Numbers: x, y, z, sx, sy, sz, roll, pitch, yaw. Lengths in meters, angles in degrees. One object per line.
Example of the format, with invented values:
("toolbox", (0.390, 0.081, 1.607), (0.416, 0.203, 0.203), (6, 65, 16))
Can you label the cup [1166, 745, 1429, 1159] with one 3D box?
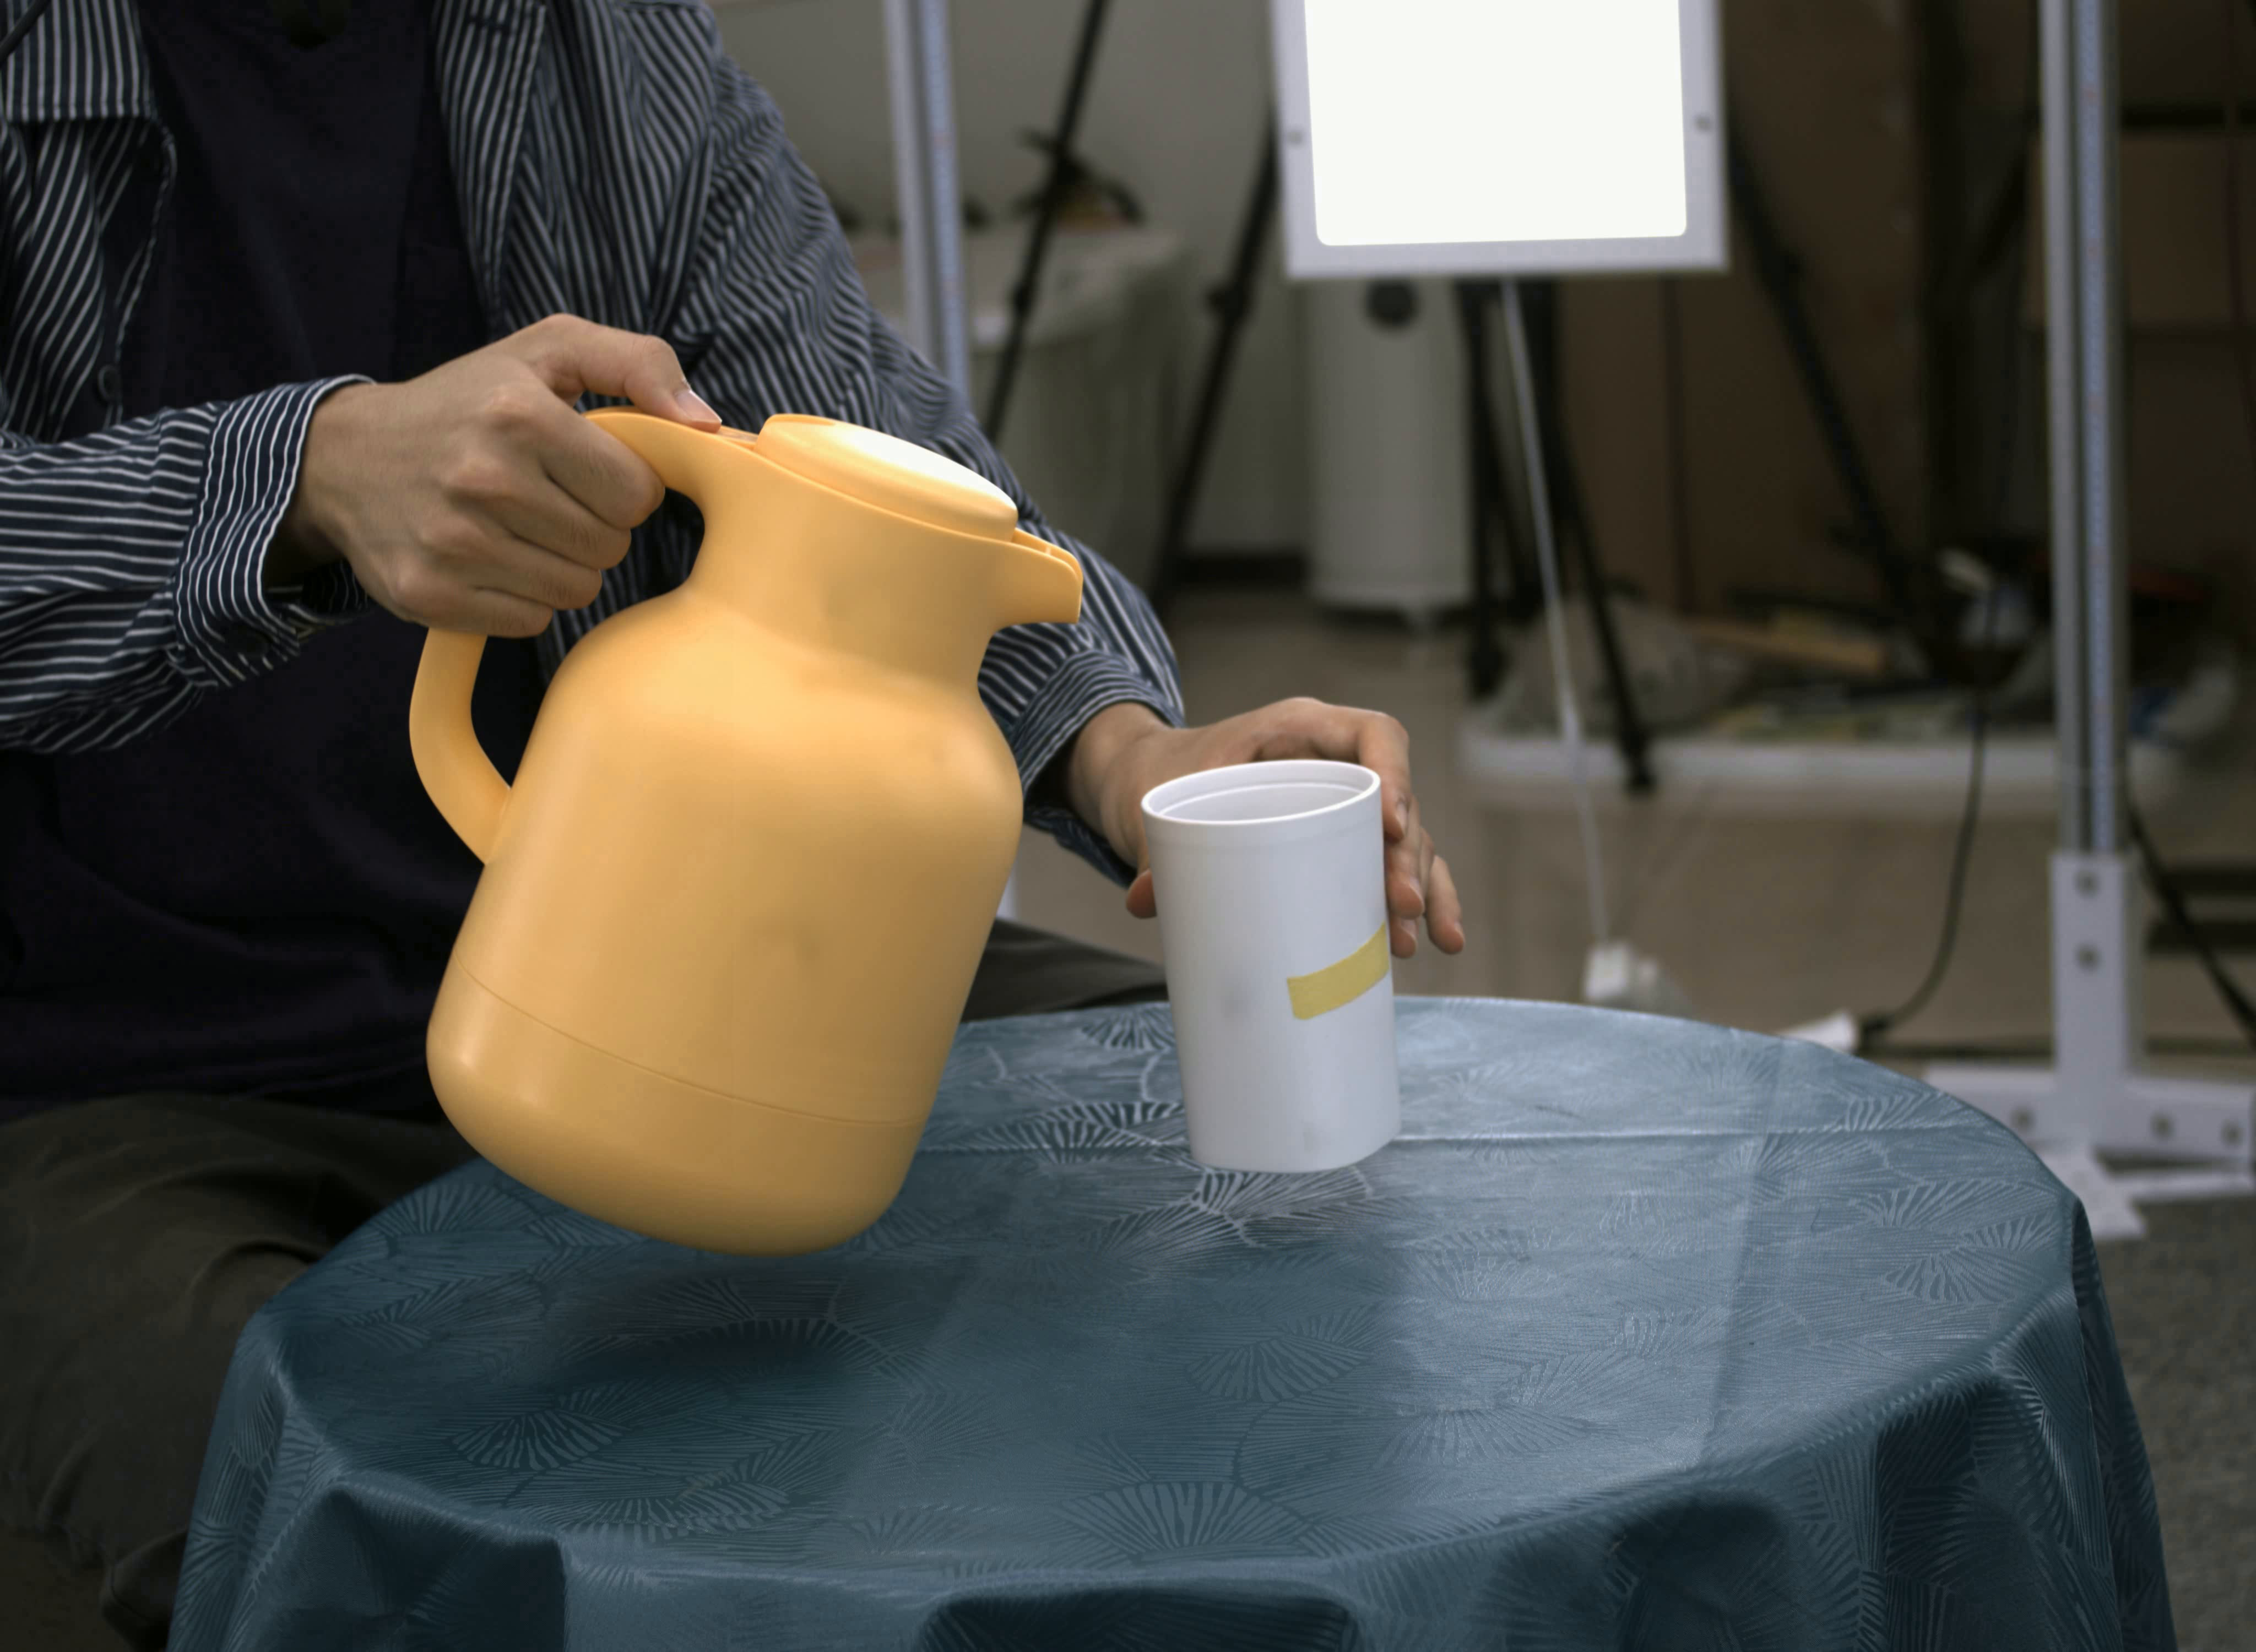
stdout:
("cup", (0.060, 0.043, 1.848), (0.081, 0.126, 0.081), (-7, 13, 0))

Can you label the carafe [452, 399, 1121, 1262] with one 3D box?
("carafe", (-0.123, -0.007, 1.780), (0.201, 0.262, 0.163), (20, 10, -2))
